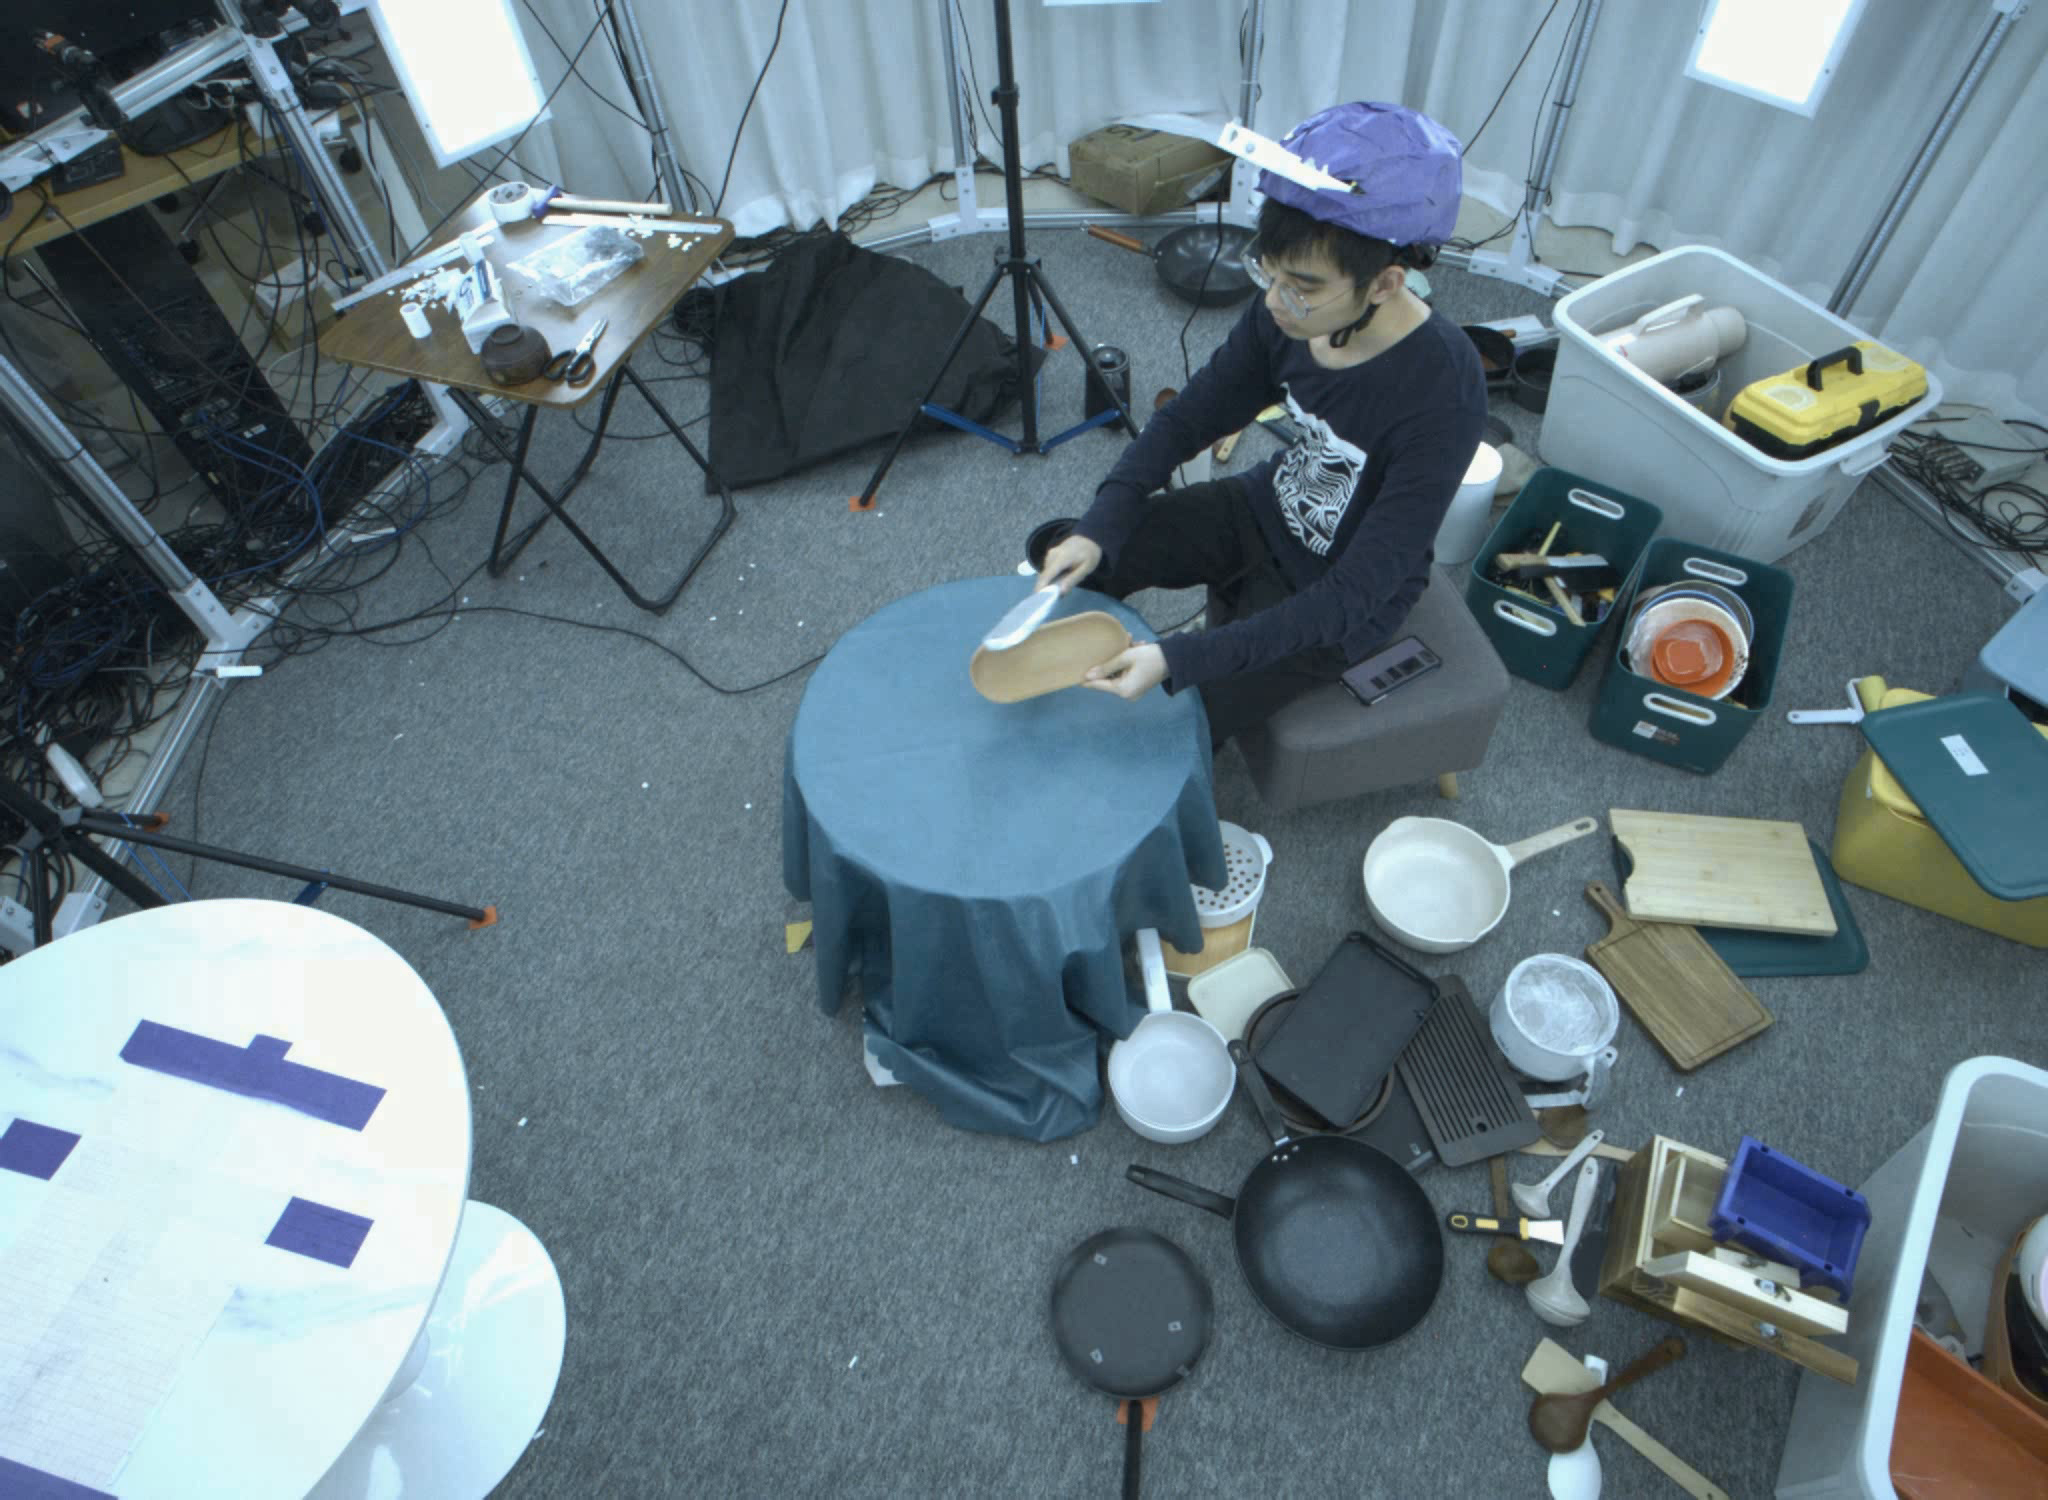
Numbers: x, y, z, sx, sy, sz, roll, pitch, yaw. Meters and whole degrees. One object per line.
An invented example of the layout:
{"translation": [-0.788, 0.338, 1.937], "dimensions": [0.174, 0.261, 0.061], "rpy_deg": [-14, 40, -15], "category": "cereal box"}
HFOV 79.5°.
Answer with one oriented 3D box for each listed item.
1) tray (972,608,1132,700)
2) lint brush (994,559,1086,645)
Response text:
{"translation": [0.039, -0.136, 1.748], "dimensions": [0.230, 0.103, 0.020], "rpy_deg": [-17, 32, 4], "category": "tray"}
{"translation": [0.032, -0.220, 1.786], "dimensions": [0.059, 0.021, 0.310], "rpy_deg": [-12, 22, 29], "category": "lint brush"}
